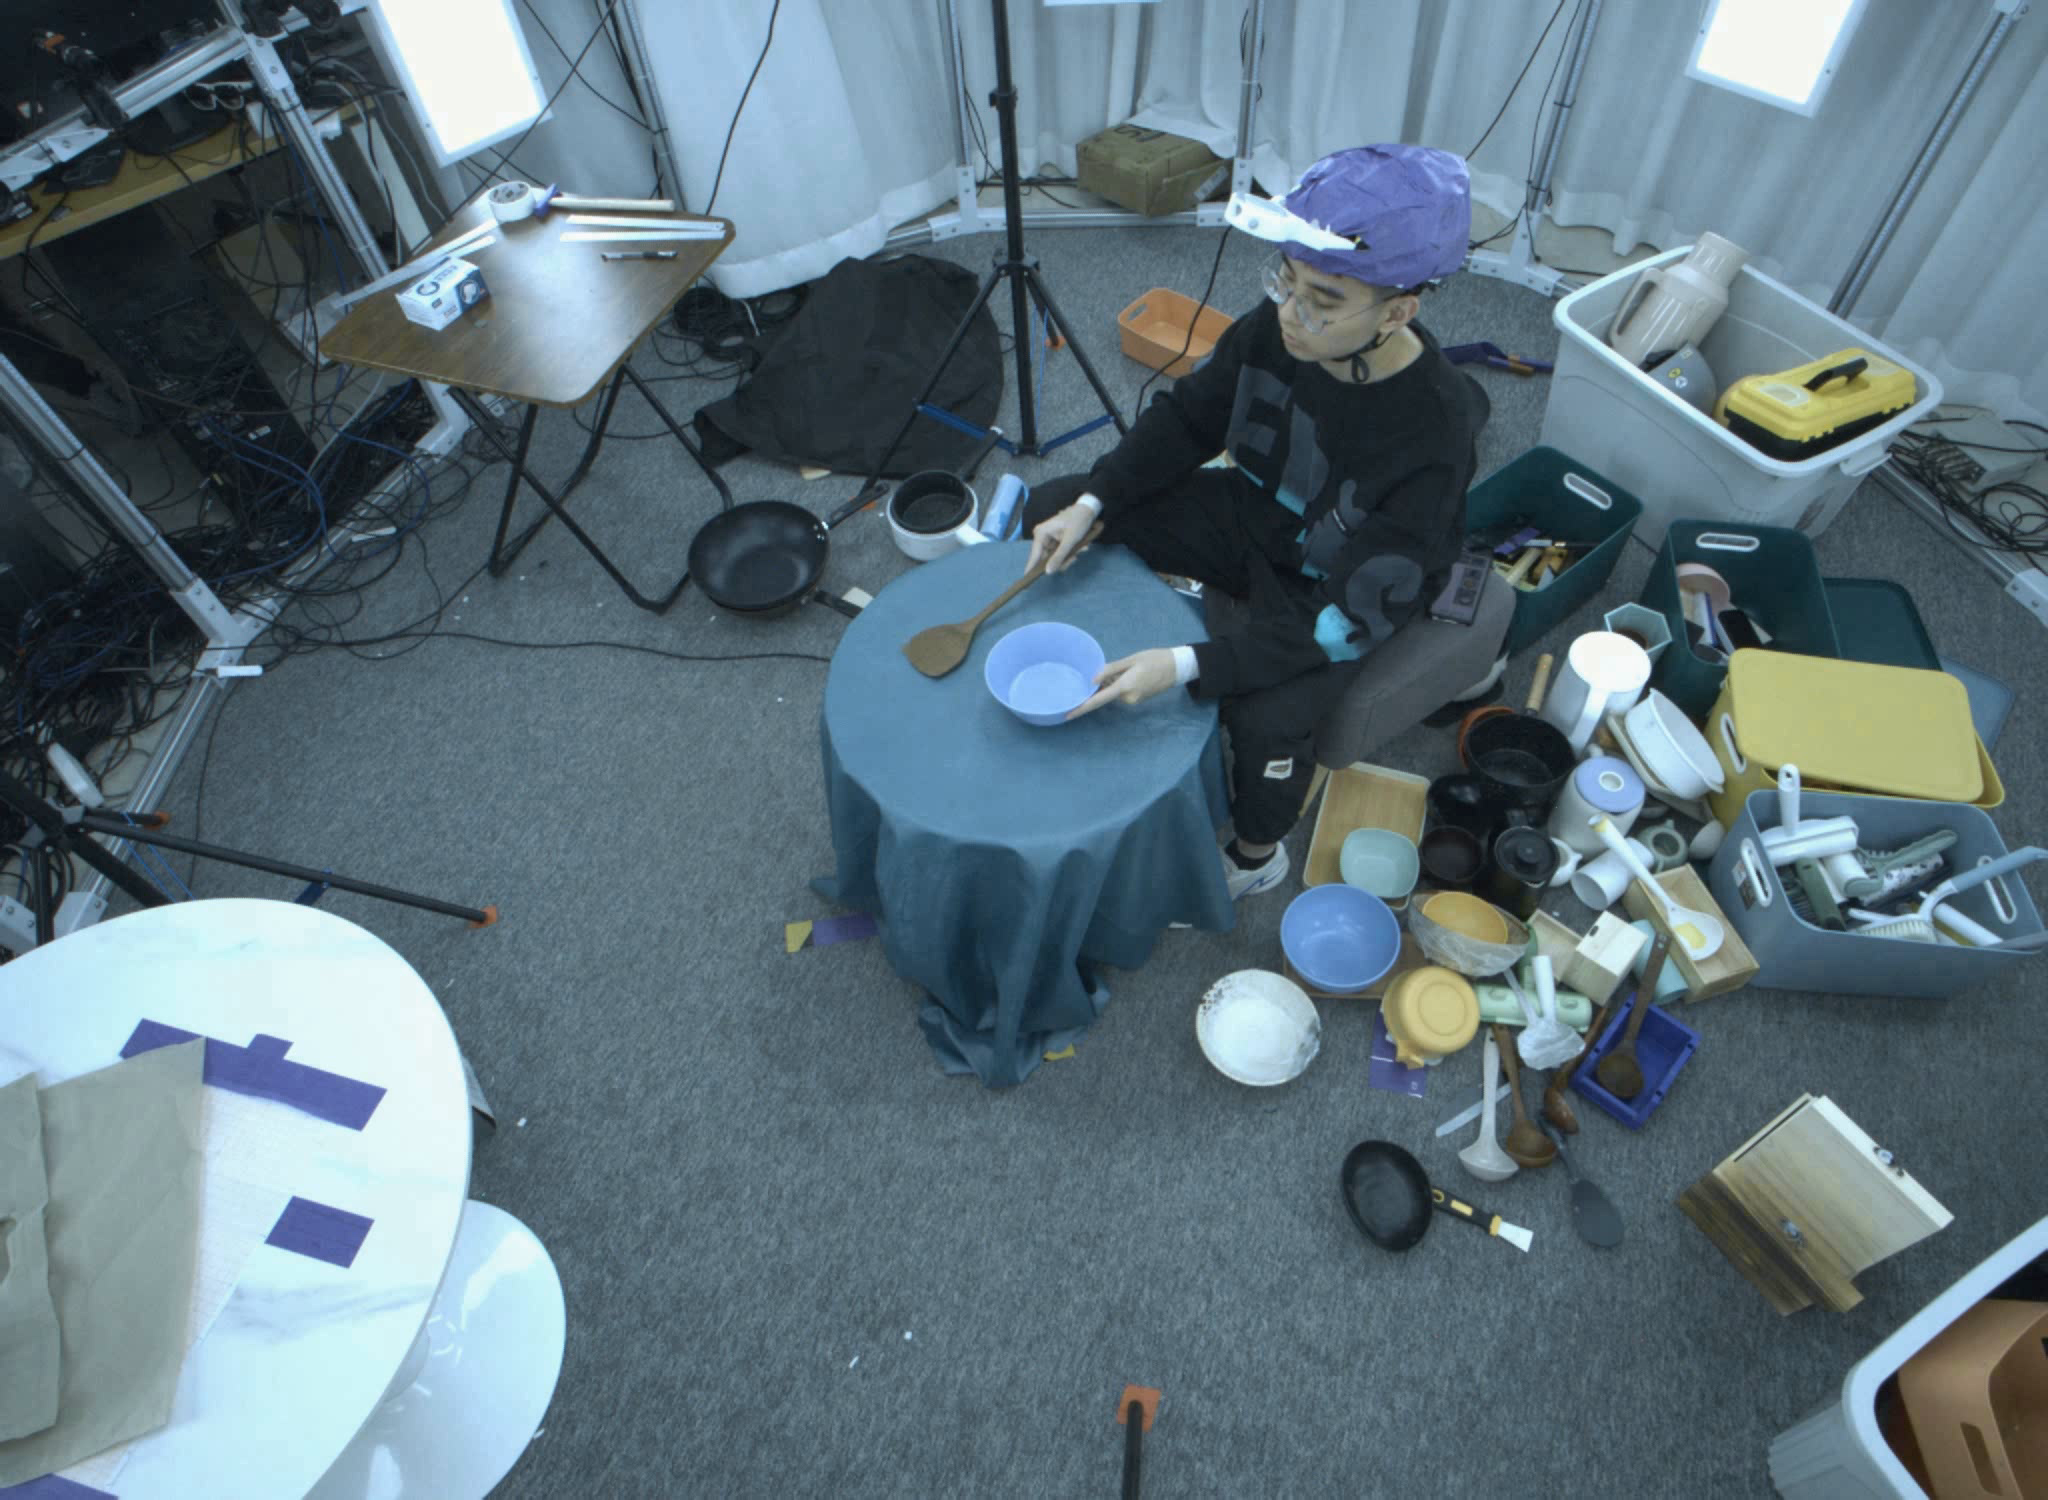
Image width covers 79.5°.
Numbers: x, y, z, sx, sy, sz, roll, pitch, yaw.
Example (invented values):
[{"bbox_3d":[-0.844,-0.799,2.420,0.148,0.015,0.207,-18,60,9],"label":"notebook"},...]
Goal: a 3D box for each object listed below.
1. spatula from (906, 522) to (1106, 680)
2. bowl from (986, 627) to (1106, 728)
[{"bbox_3d":[-0.019,-0.245,1.930,0.387,0.016,0.094,-40,62,-11],"label":"spatula"},{"bbox_3d":[0.034,-0.098,1.821,0.176,0.071,0.174,-1,54,2],"label":"bowl"}]
